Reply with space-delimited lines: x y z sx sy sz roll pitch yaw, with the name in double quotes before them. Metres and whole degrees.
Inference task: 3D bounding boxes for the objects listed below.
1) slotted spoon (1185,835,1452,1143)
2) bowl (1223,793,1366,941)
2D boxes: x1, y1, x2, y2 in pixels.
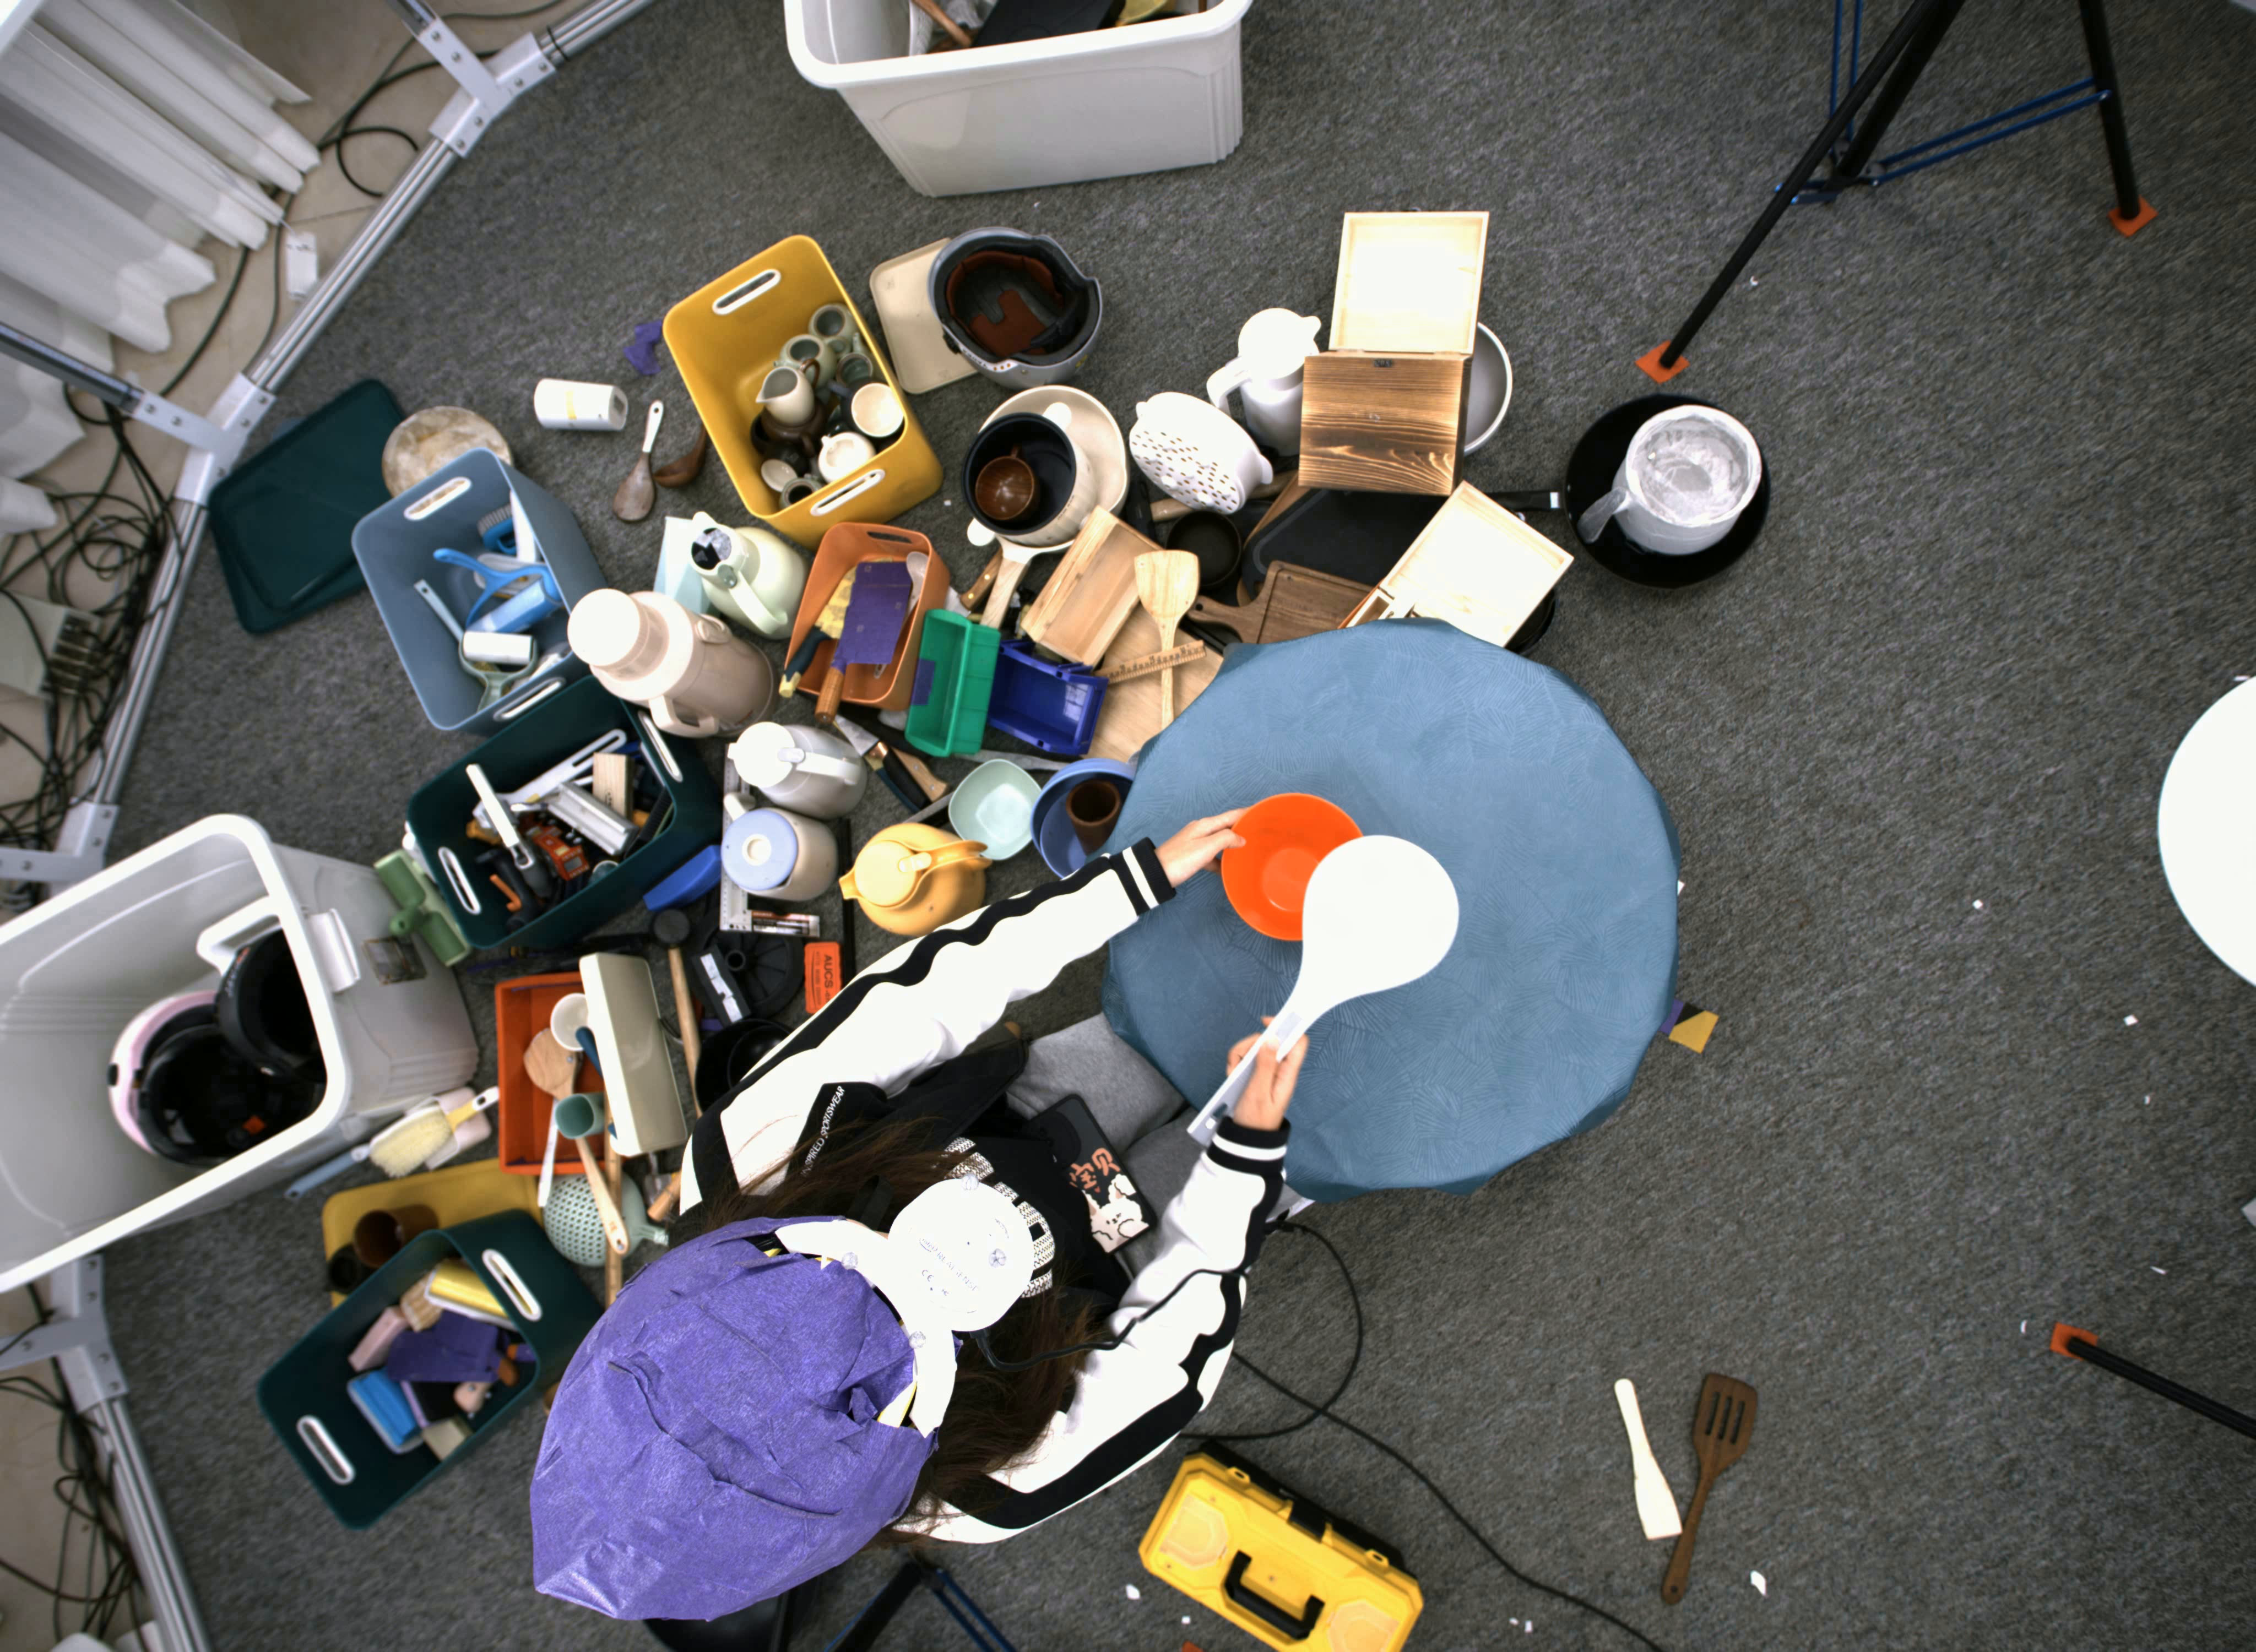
"slotted spoon" 0.168 0.160 1.305 0.136 0.045 0.352 37 98 5
"bowl" 0.171 0.043 1.423 0.148 0.104 0.148 0 89 5
